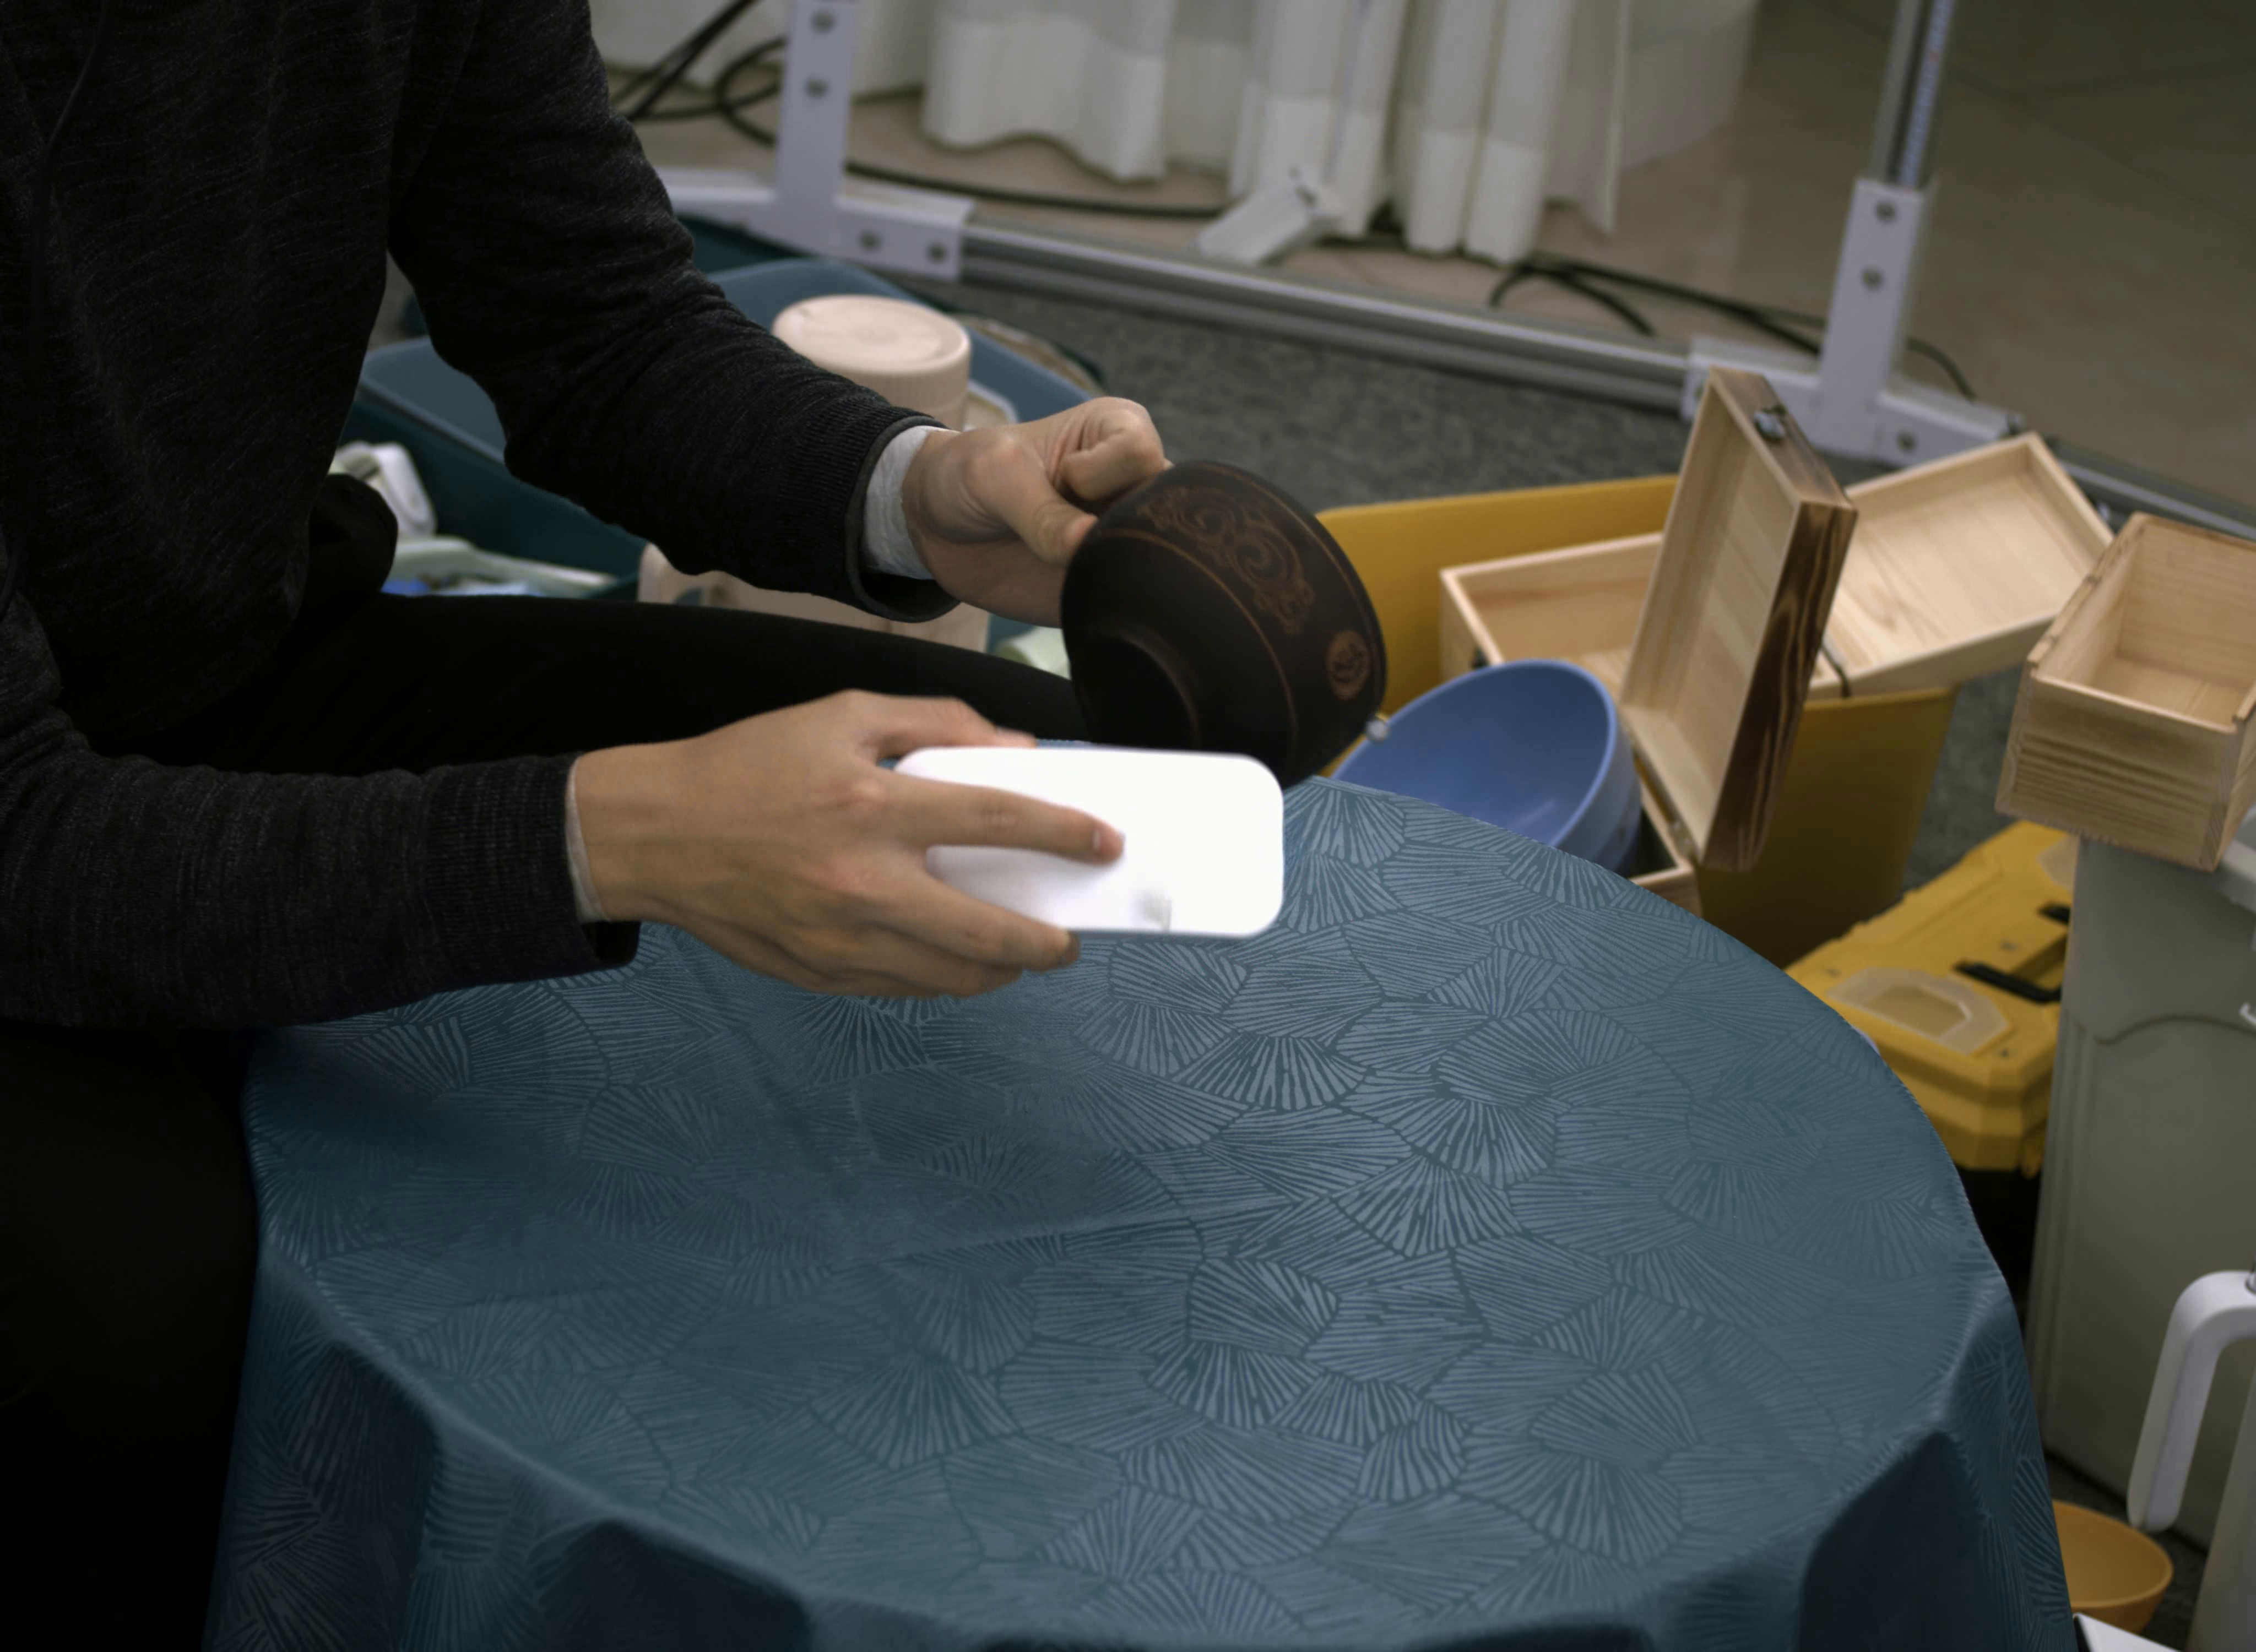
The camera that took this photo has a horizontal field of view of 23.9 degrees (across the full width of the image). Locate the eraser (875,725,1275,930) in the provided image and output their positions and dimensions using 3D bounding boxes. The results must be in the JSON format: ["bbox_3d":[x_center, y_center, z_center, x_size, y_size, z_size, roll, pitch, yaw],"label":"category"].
[{"bbox_3d":[-0.018,0.002,1.744,0.131,0.064,0.034,1,-14,-5],"label":"eraser"}]

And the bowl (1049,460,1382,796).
[{"bbox_3d":[0.021,-0.058,1.810,0.119,0.117,0.070,25,53,32],"label":"bowl"}]
